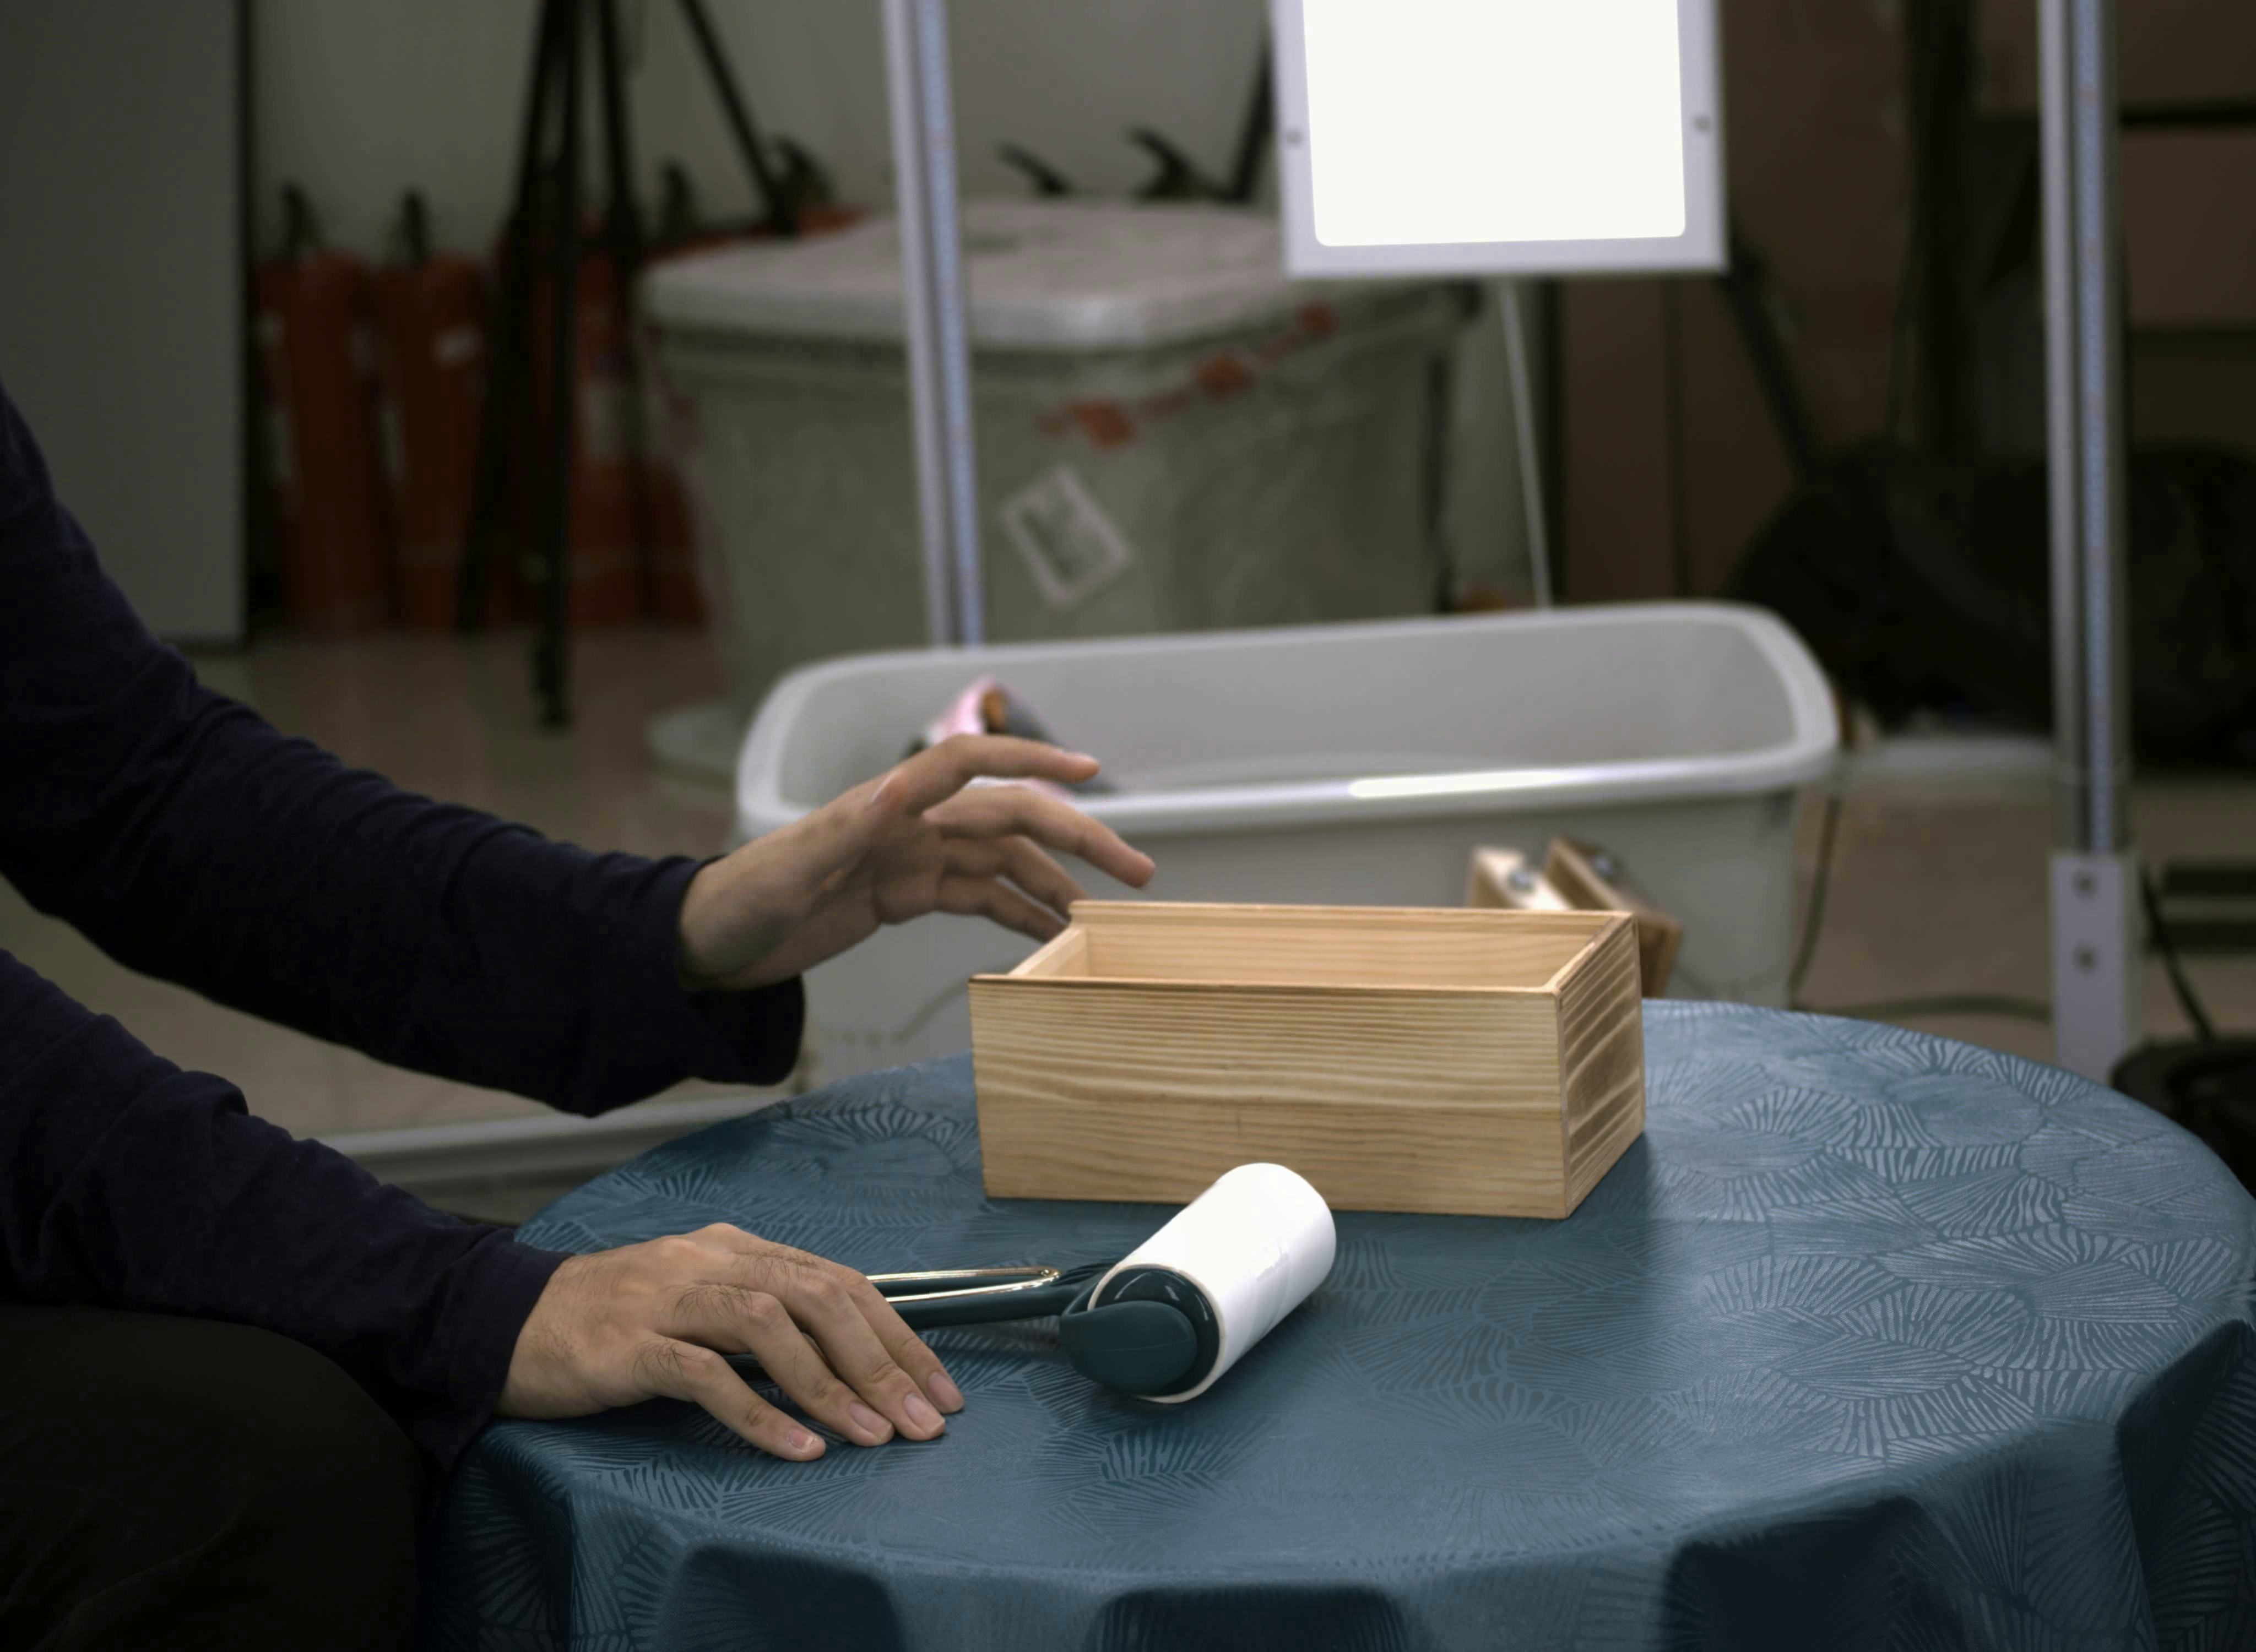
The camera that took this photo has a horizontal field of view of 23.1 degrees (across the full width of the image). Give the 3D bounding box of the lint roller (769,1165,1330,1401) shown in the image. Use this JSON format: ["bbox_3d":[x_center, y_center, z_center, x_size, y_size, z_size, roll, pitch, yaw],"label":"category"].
[{"bbox_3d":[-0.035,0.145,1.755,0.183,0.048,0.132,-2,13,24],"label":"lint roller"}]

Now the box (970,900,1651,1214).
[{"bbox_3d":[0.065,0.079,1.906,0.214,0.080,0.105,-1,15,22],"label":"box"}]
